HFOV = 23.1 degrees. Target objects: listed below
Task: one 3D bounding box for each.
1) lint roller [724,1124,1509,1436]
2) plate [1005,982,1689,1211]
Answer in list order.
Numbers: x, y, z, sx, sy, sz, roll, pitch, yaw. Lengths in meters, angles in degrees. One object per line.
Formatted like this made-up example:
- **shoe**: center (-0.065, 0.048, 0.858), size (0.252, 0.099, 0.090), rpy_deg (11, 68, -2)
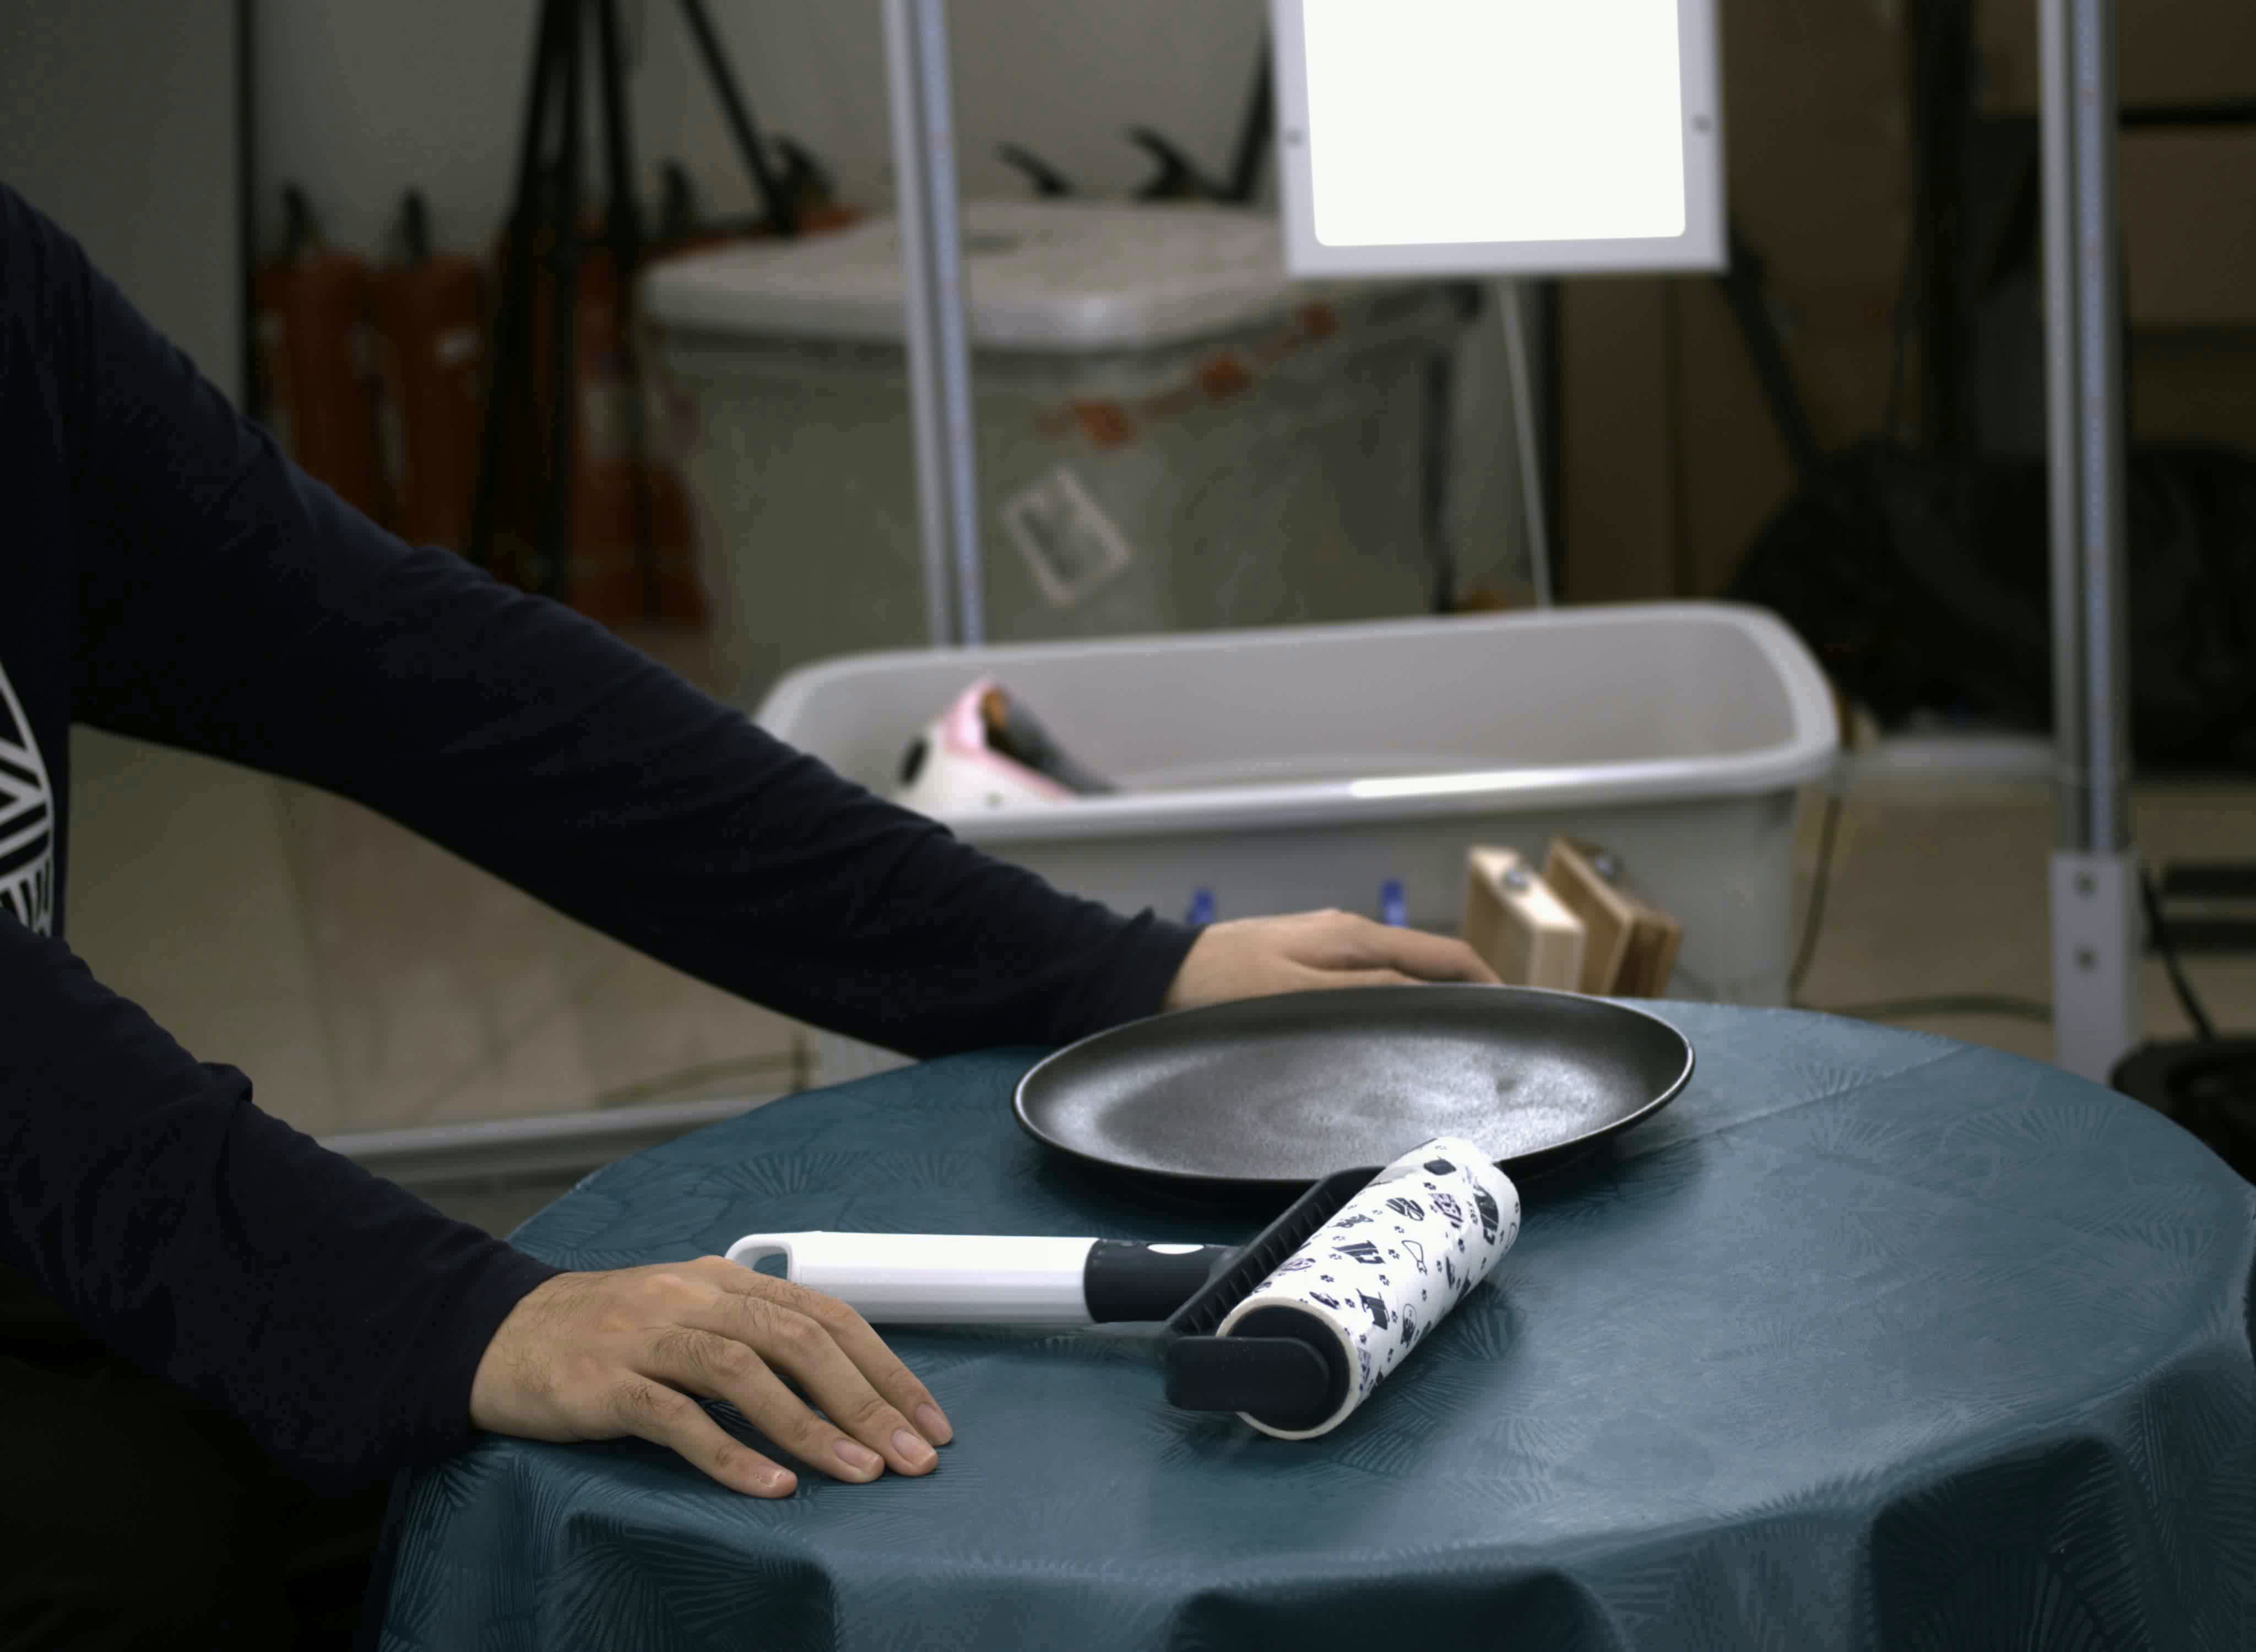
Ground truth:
- **lint roller**: center (-0.018, 0.145, 1.753), size (0.251, 0.050, 0.173), rpy_deg (-3, 15, 24)
- **plate**: center (0.078, 0.098, 1.945), size (0.244, 0.023, 0.244), rpy_deg (-5, 14, 0)
